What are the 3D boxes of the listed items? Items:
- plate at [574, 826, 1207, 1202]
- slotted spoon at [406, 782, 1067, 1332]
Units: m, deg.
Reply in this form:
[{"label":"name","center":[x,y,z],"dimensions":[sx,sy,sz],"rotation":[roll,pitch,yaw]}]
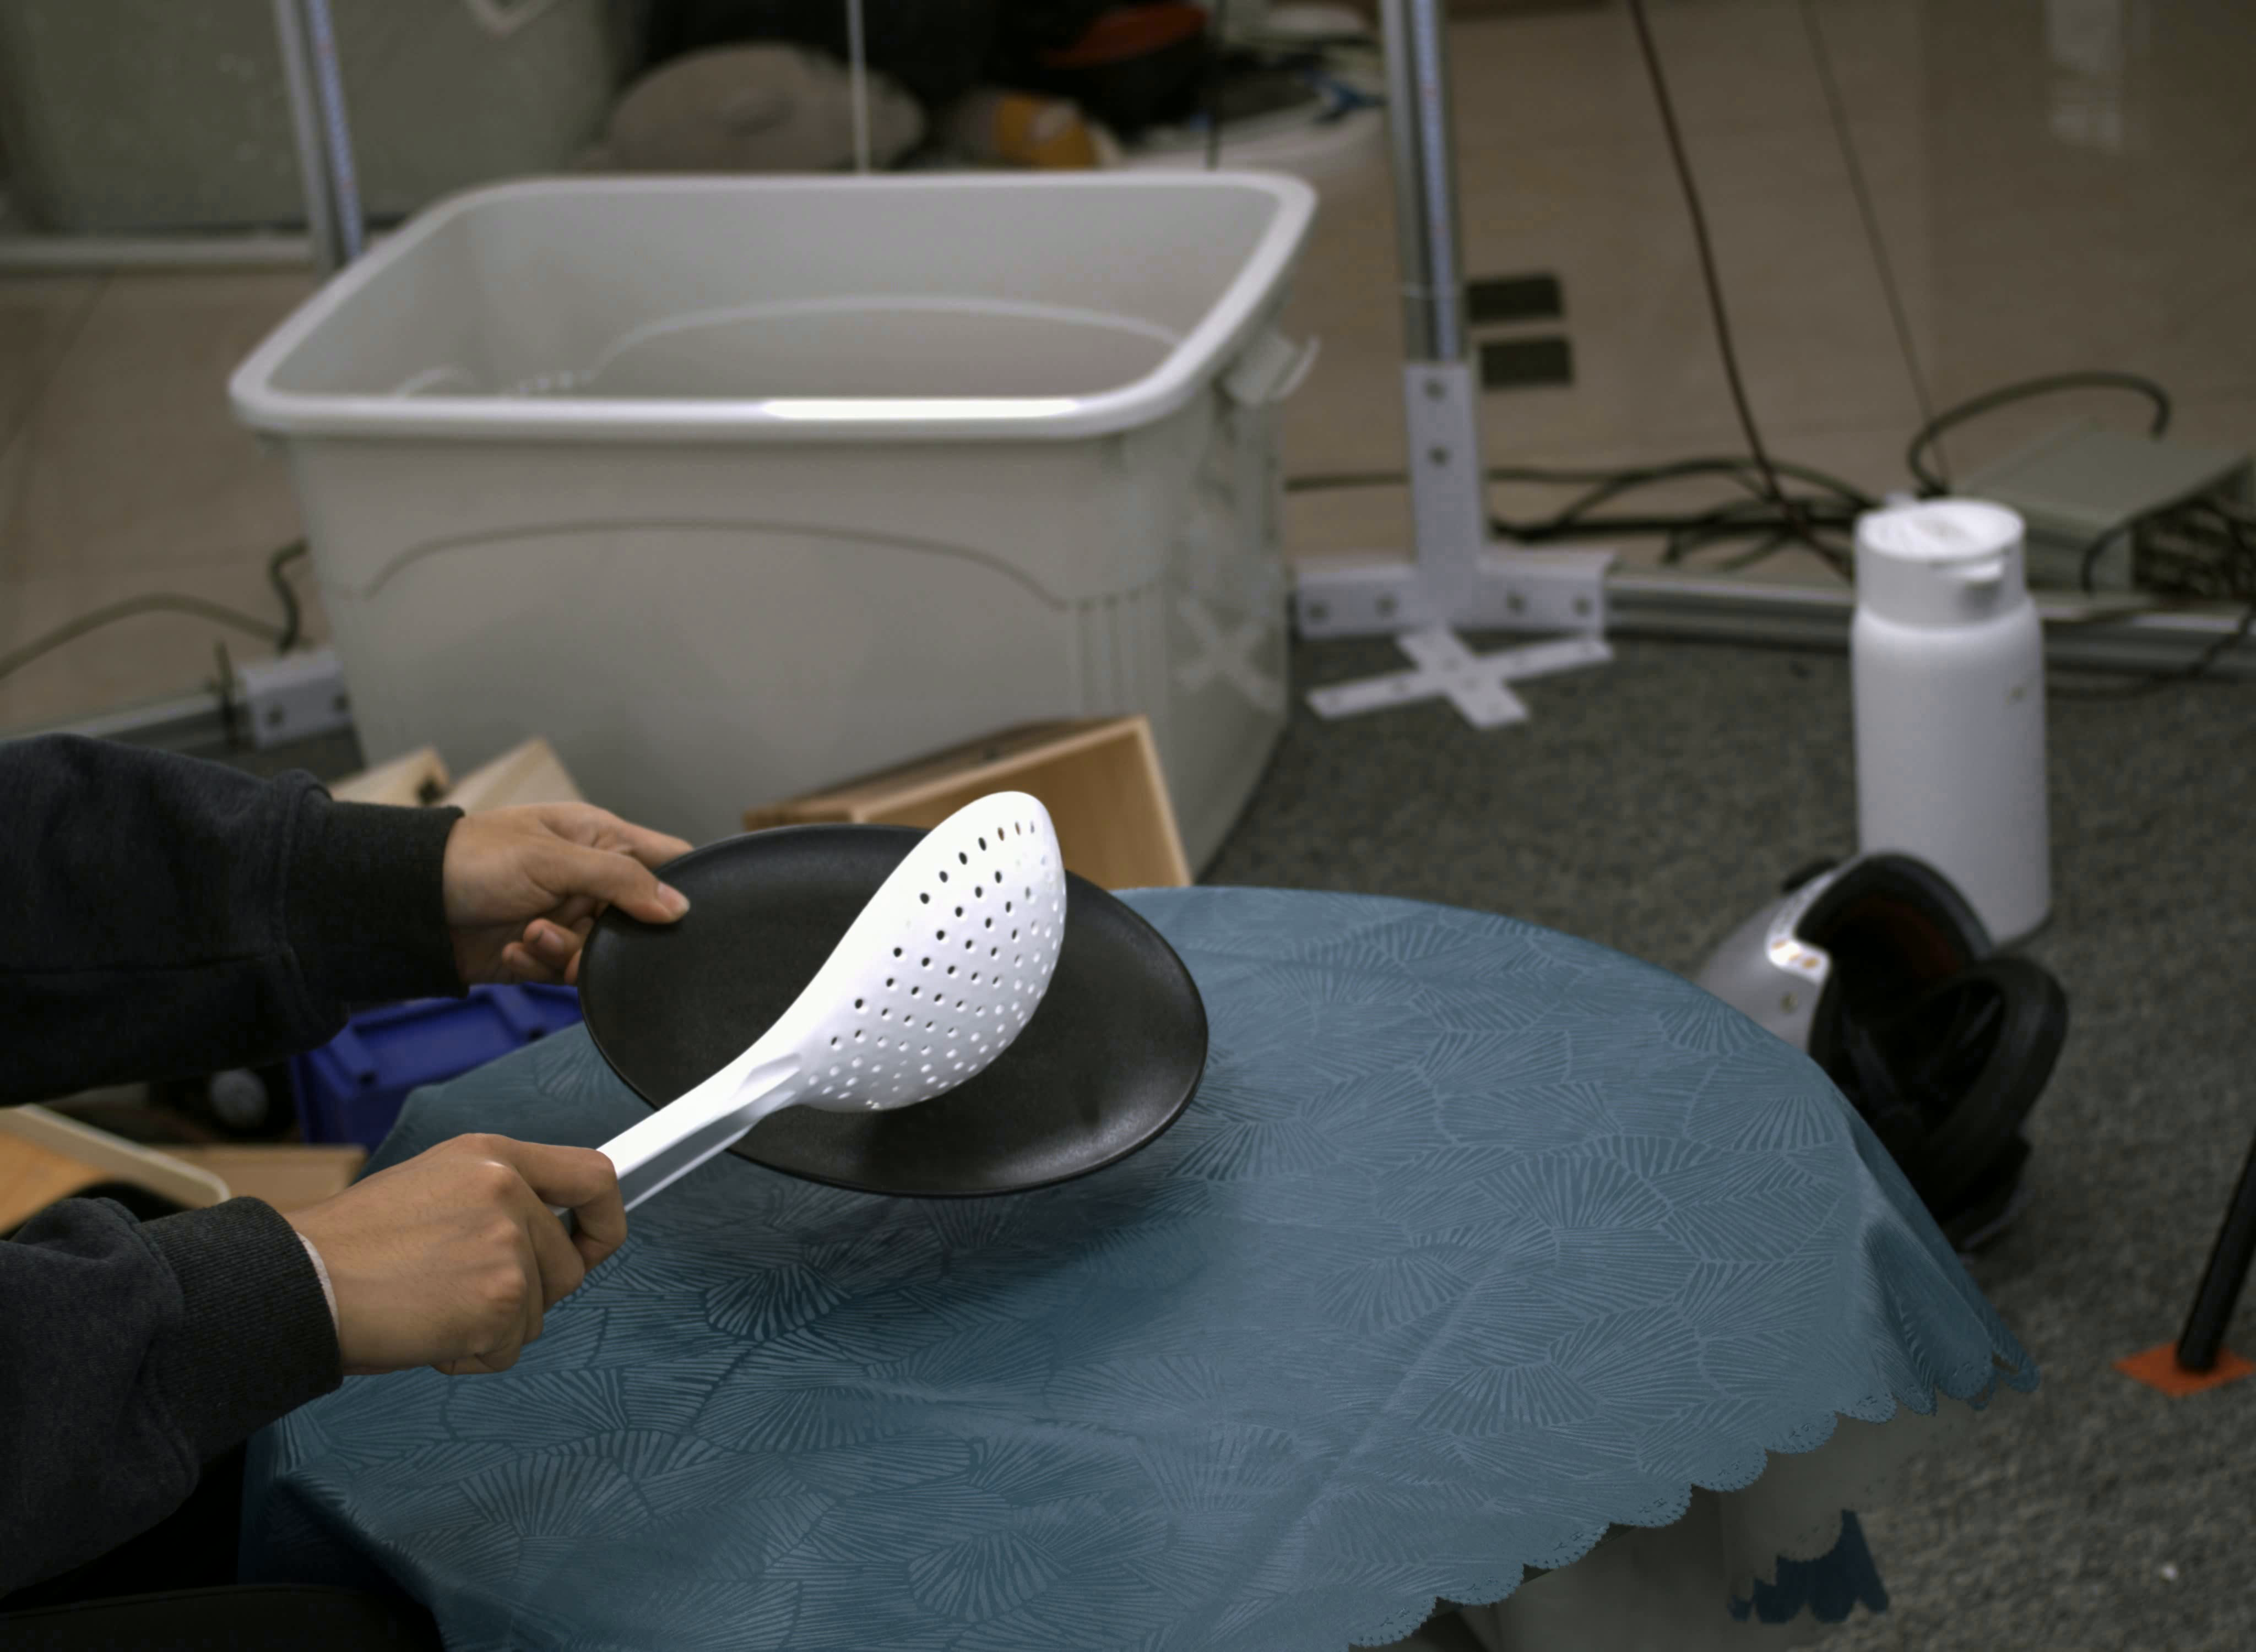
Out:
[{"label":"plate","center":[-0.091,0.076,2.170],"dimensions":[0.244,0.024,0.240],"rotation":[7,34,-5]},{"label":"slotted spoon","center":[-0.131,0.090,2.023],"dimensions":[0.045,0.138,0.346],"rotation":[35,43,29]}]
